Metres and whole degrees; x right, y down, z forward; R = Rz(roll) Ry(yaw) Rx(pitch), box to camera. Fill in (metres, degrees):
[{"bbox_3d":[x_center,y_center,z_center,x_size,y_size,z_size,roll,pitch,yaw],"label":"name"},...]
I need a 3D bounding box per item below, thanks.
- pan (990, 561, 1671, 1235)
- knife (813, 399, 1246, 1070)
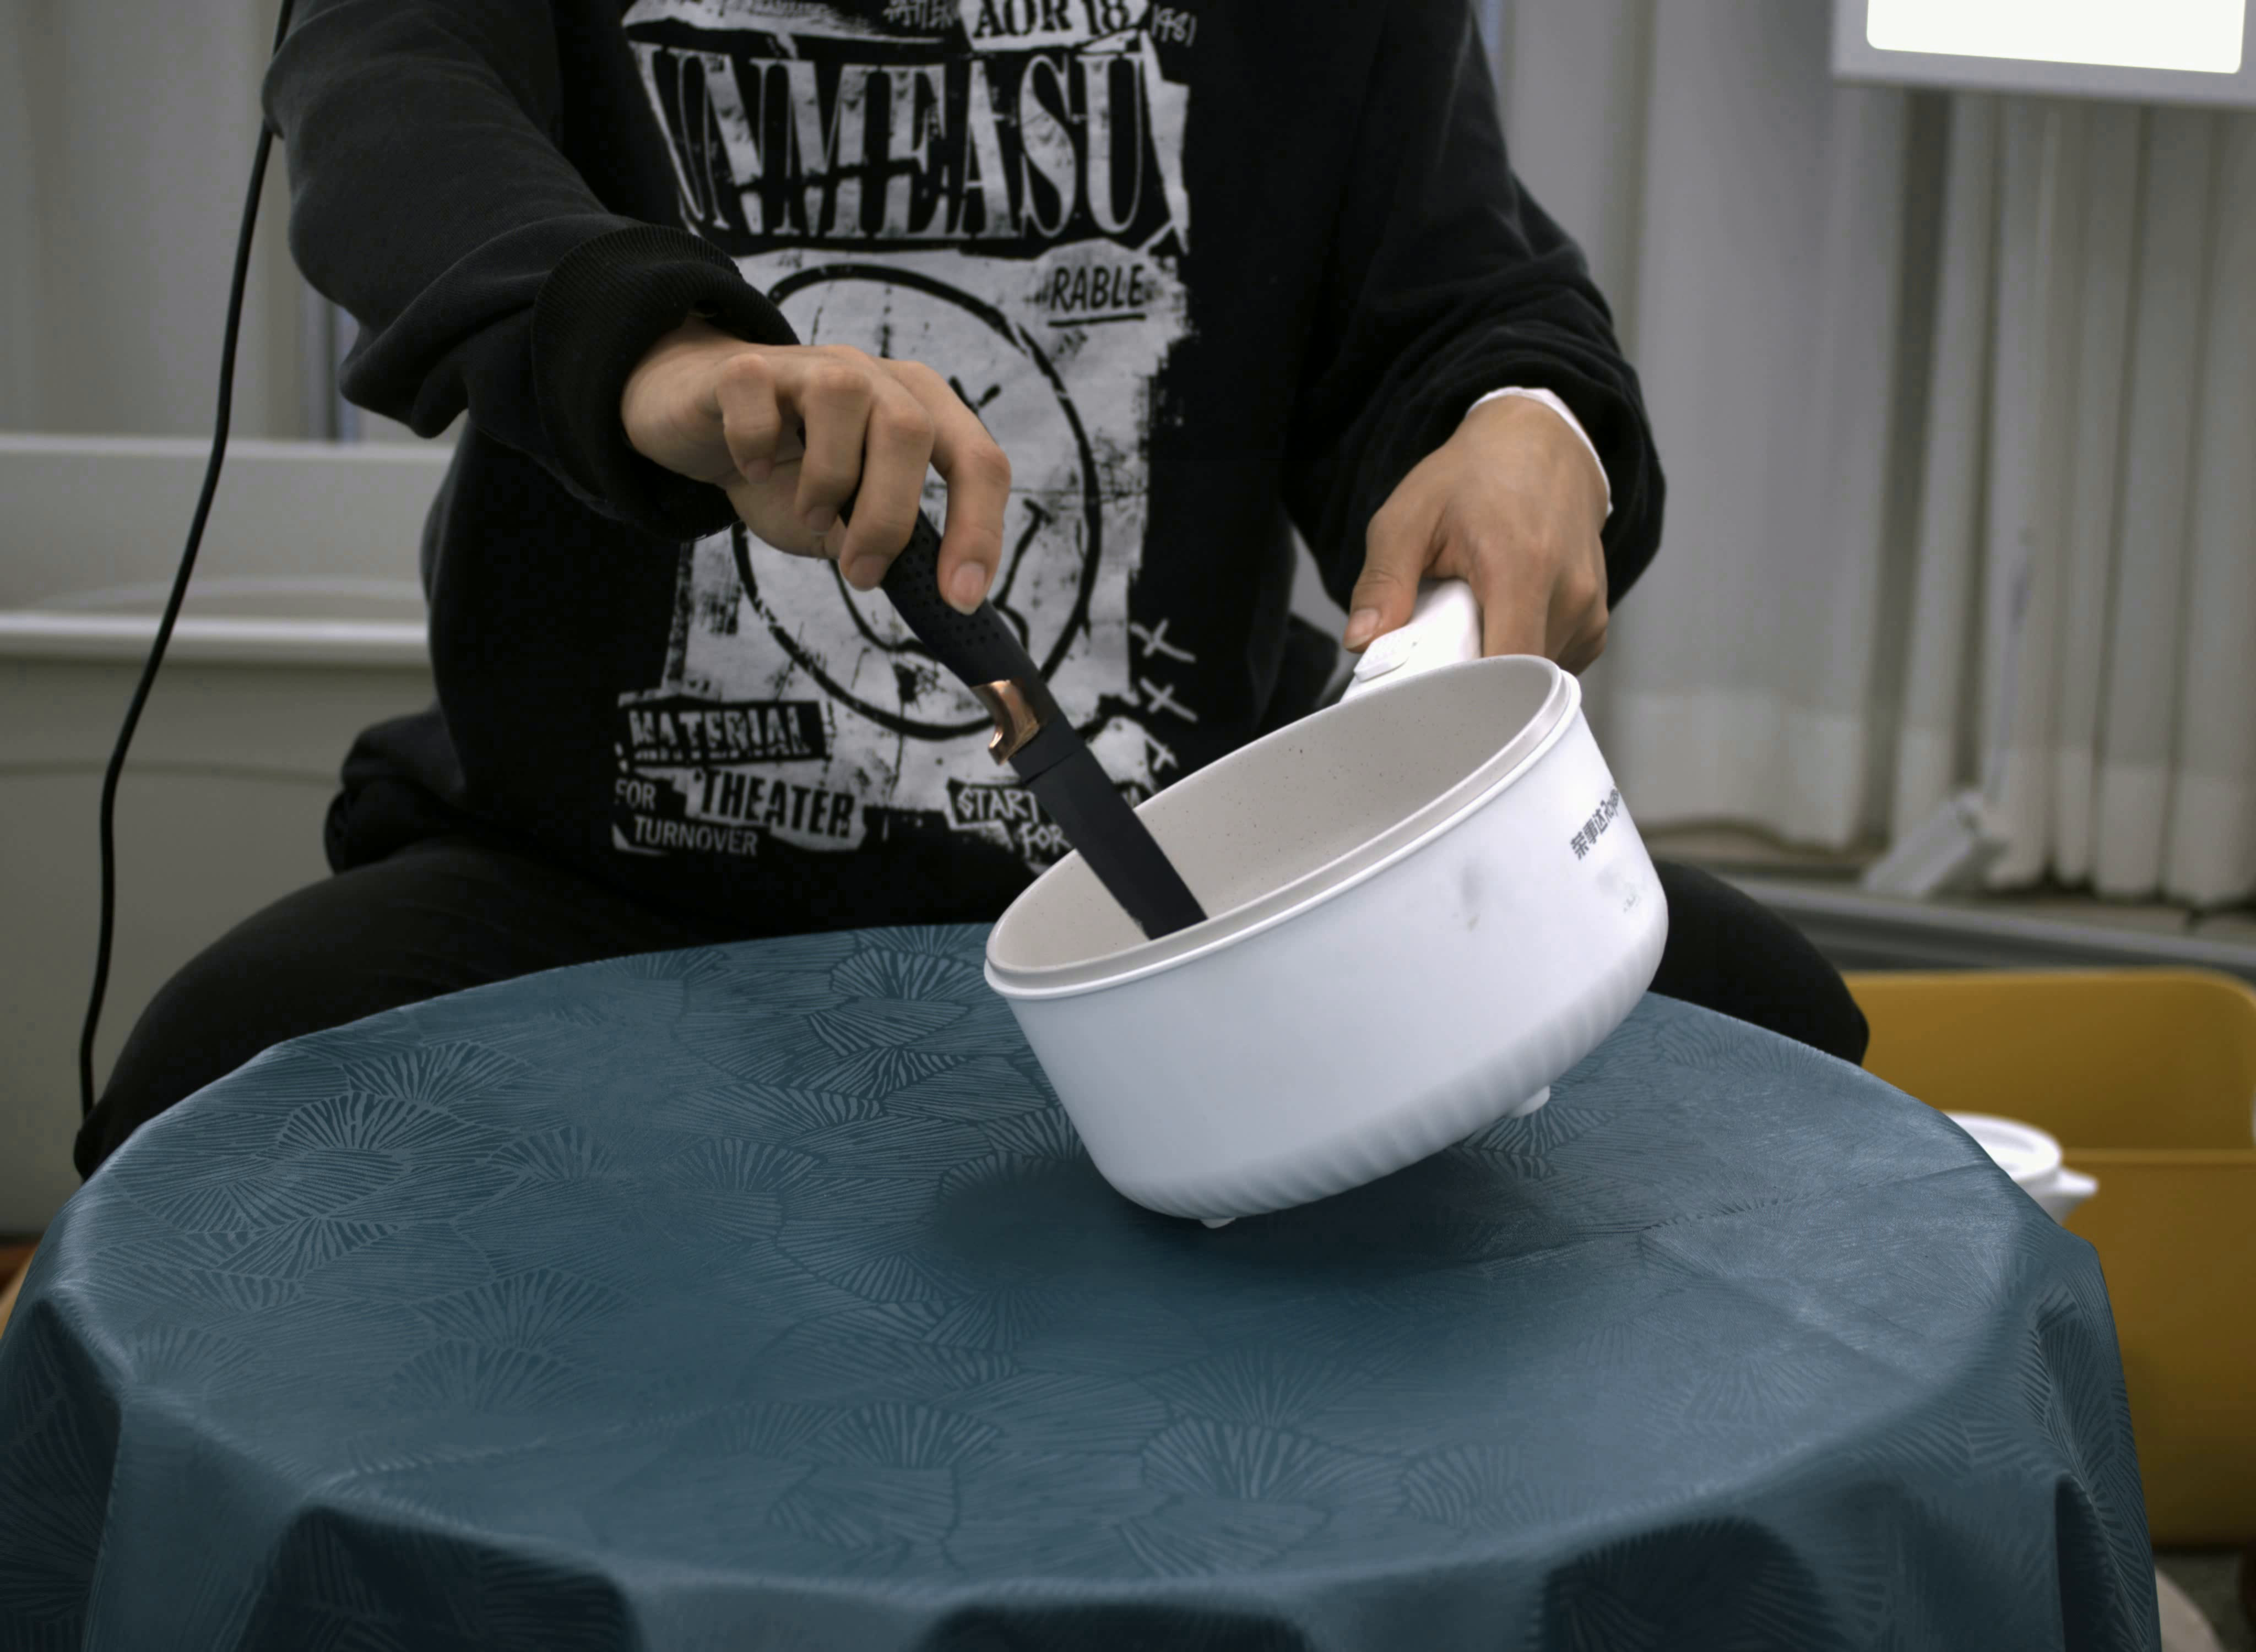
[{"bbox_3d":[0.087,0.015,1.673,0.200,0.103,0.354,-24,12,22],"label":"pan"},{"bbox_3d":[-0.024,-0.026,1.527,0.026,0.226,0.017,-34,2,0],"label":"knife"}]
